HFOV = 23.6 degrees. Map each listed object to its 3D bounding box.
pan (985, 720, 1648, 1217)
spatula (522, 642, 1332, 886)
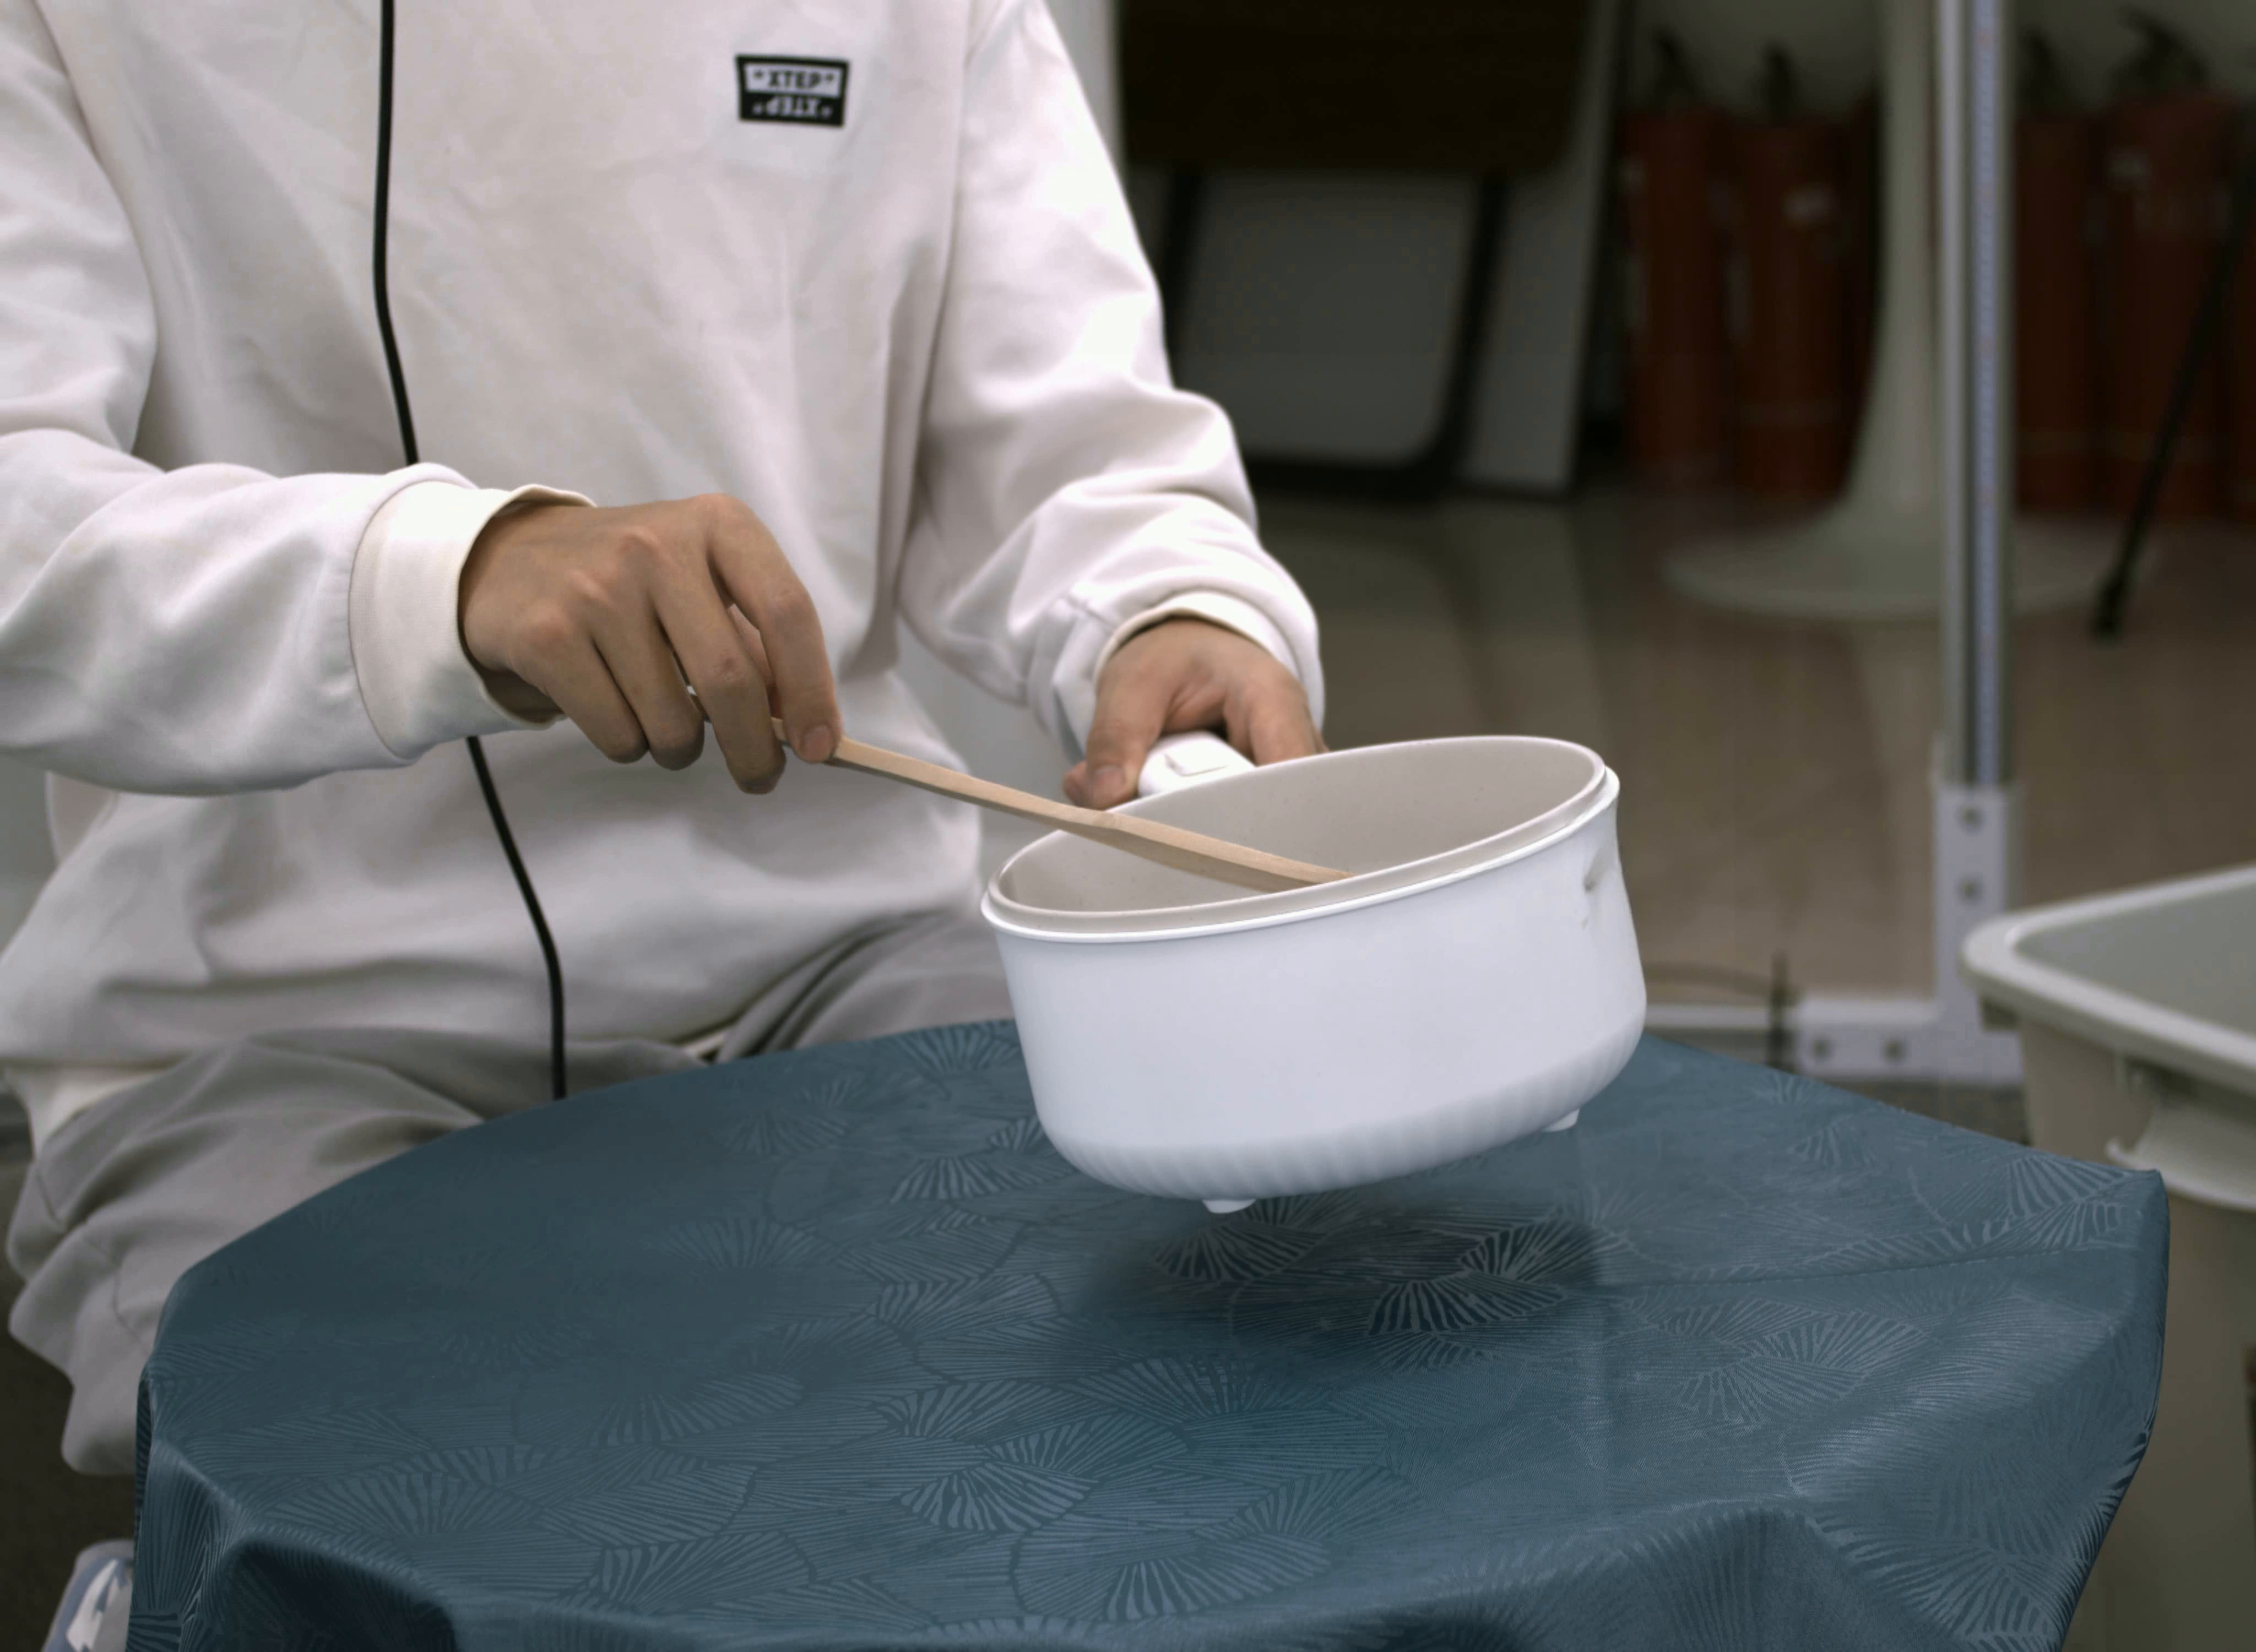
[{"bbox_3d":[0.049,0.036,1.739,0.198,0.103,0.356,-15,10,-7],"label":"pan"},{"bbox_3d":[-0.057,-0.015,1.677,0.292,0.011,0.071,16,-6,16],"label":"spatula"}]
